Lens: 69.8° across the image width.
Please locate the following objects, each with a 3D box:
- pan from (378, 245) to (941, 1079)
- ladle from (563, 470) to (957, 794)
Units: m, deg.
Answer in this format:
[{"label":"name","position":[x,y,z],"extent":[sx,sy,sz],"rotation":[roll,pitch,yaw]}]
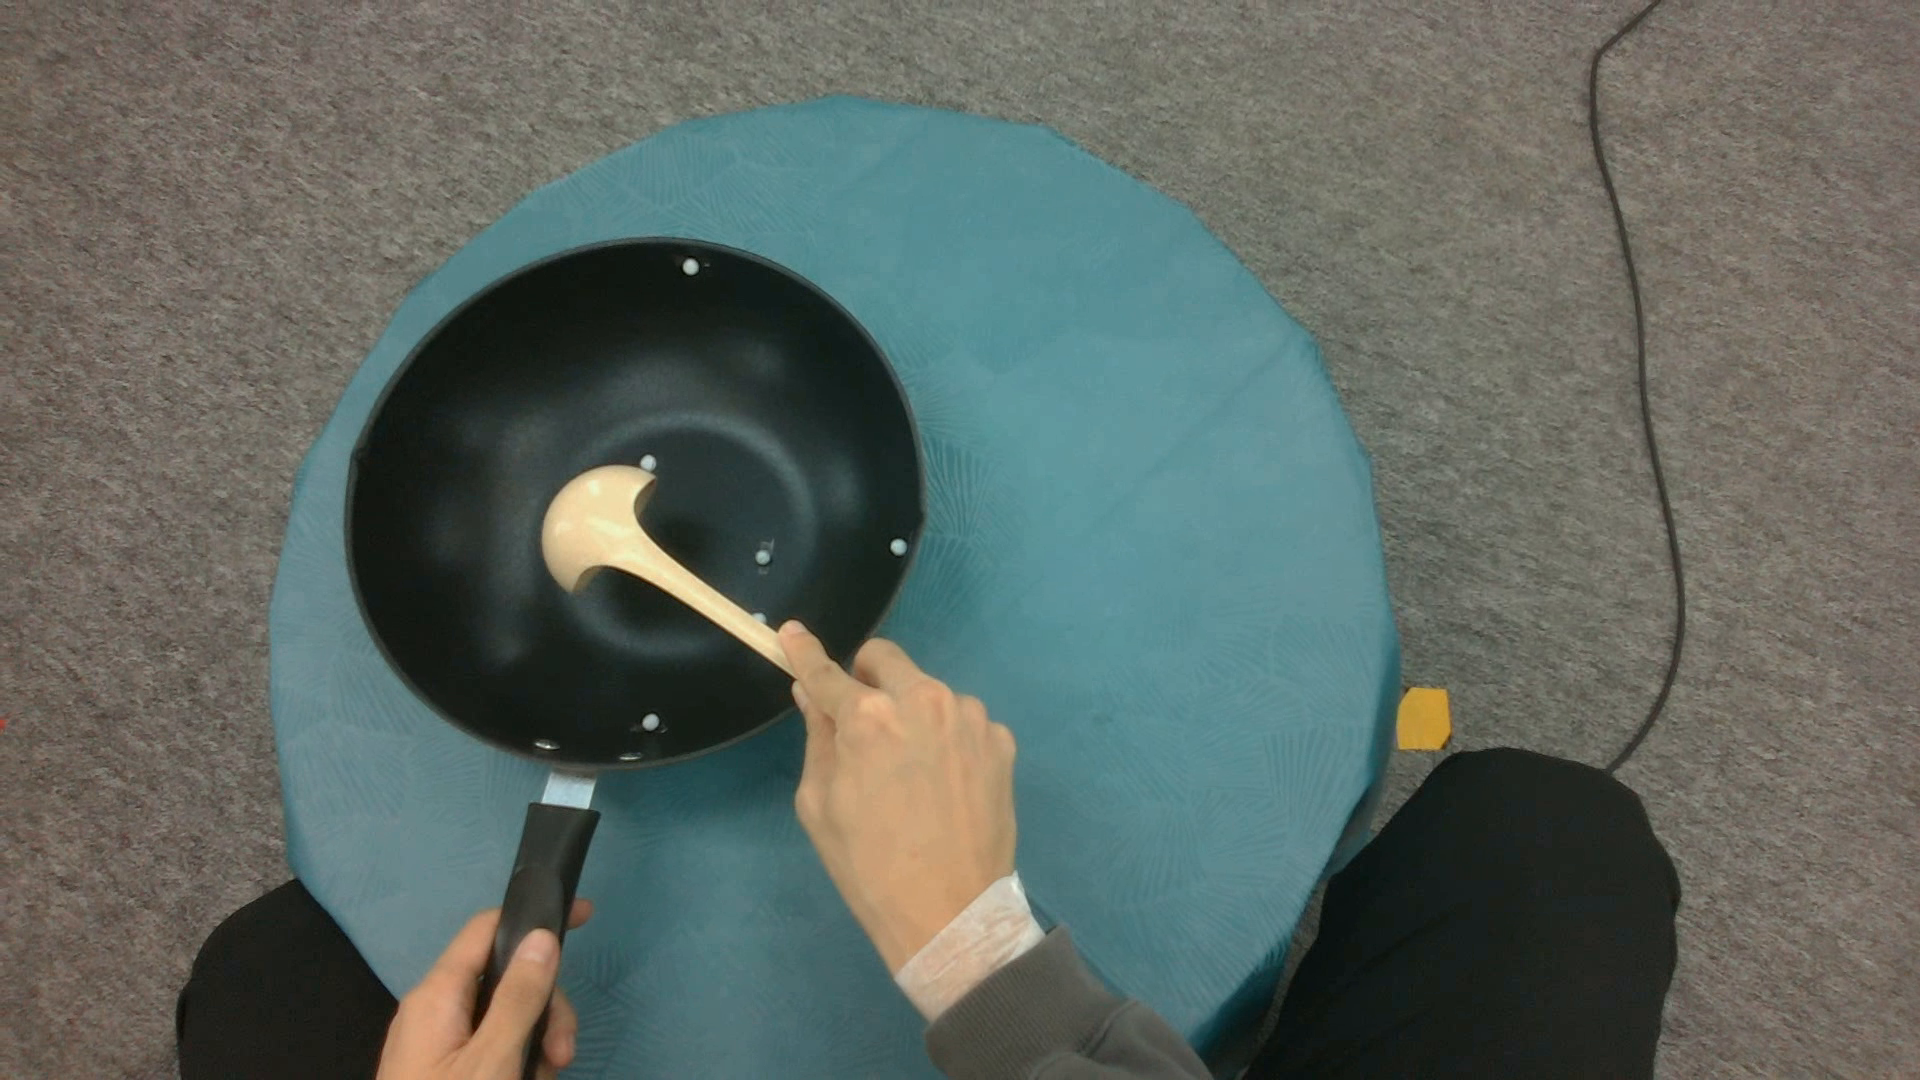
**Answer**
[{"label":"pan","position":[-0.164,0.073,0.696],"extent":[0.288,0.086,0.464],"rotation":[7,72,5]},{"label":"ladle","position":[-0.094,0.050,0.677],"extent":[0.254,0.072,0.072],"rotation":[34,83,20]}]
